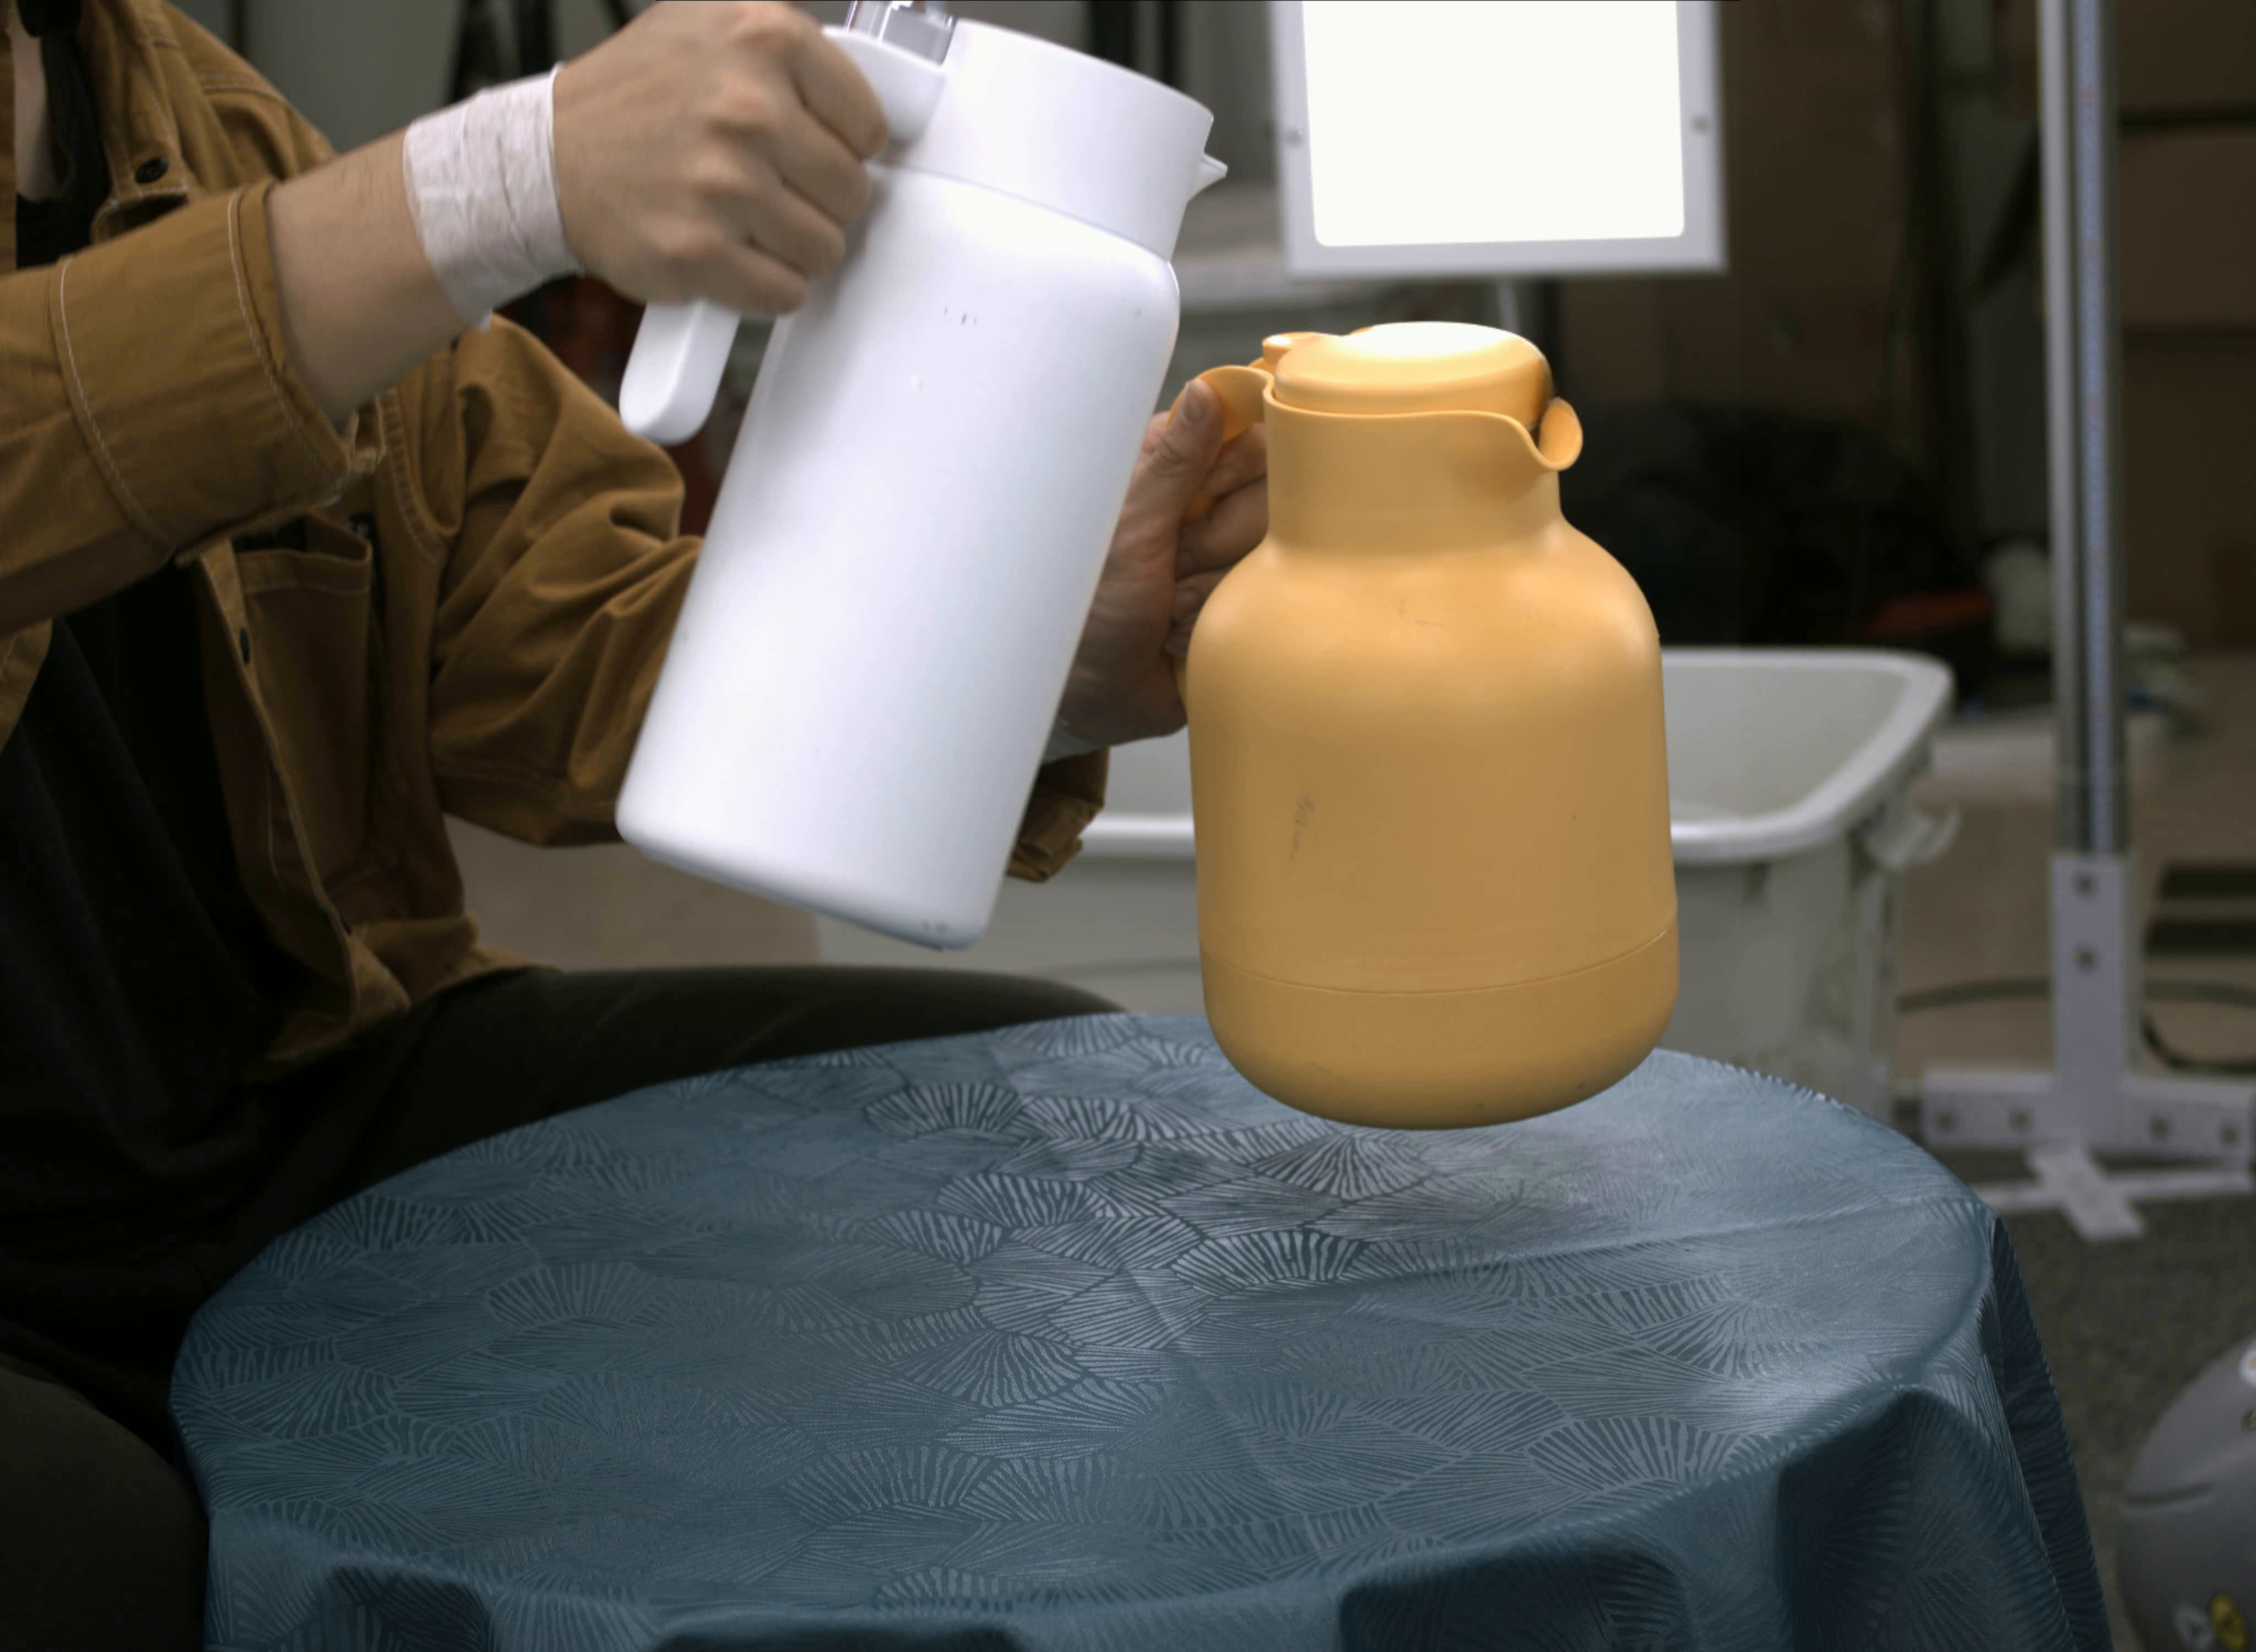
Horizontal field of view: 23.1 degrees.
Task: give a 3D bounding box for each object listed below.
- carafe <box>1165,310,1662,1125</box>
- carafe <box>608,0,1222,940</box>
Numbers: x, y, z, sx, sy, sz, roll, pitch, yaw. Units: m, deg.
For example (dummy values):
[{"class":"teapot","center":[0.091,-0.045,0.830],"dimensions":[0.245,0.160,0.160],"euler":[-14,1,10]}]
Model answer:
[{"class":"carafe","center":[0.087,-0.045,1.858],"dimensions":[0.159,0.261,0.206],"euler":[-13,21,-33]},{"class":"carafe","center":[-0.074,-0.111,1.644],"dimensions":[0.169,0.270,0.126],"euler":[18,2,-37]}]
